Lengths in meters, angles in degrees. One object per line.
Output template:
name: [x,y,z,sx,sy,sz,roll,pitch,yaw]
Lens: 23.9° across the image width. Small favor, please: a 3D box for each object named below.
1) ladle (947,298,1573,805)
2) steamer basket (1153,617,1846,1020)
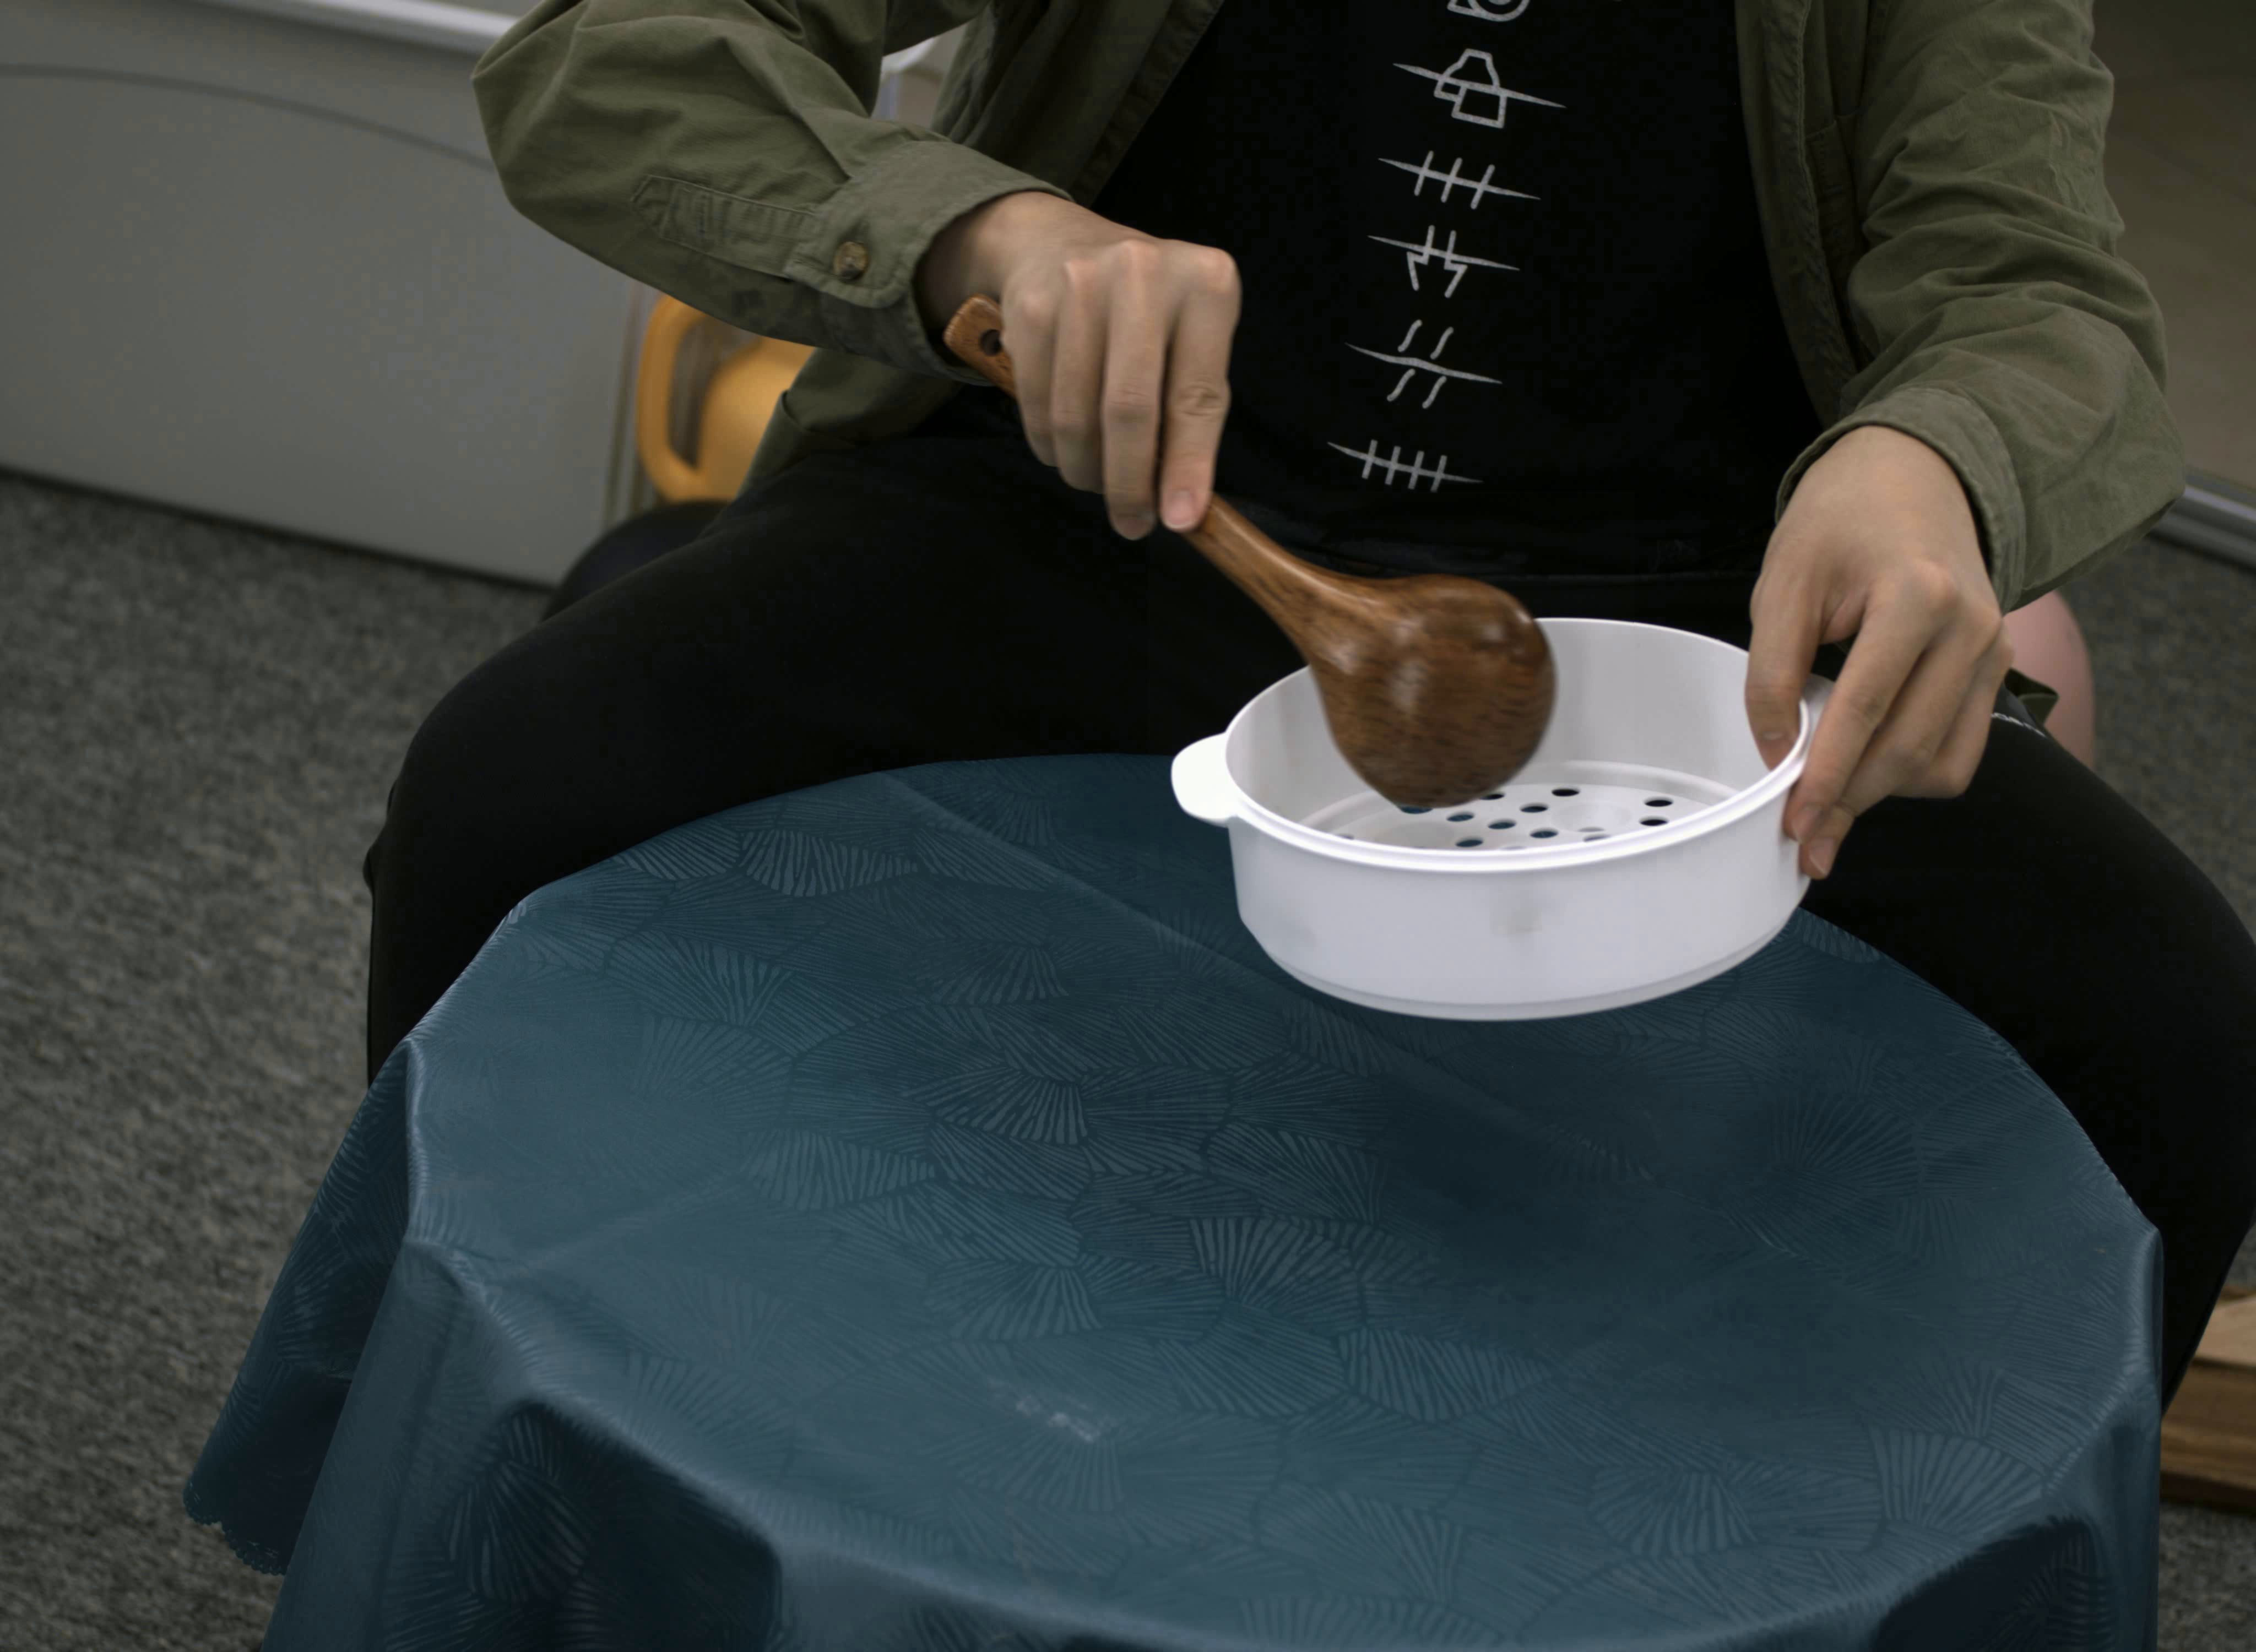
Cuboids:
ladle: [0.046,-0.104,1.869,0.276,0.082,0.076,41,8,35]
steamer basket: [0.125,-0.002,1.783,0.230,0.069,0.203,-6,24,-1]
